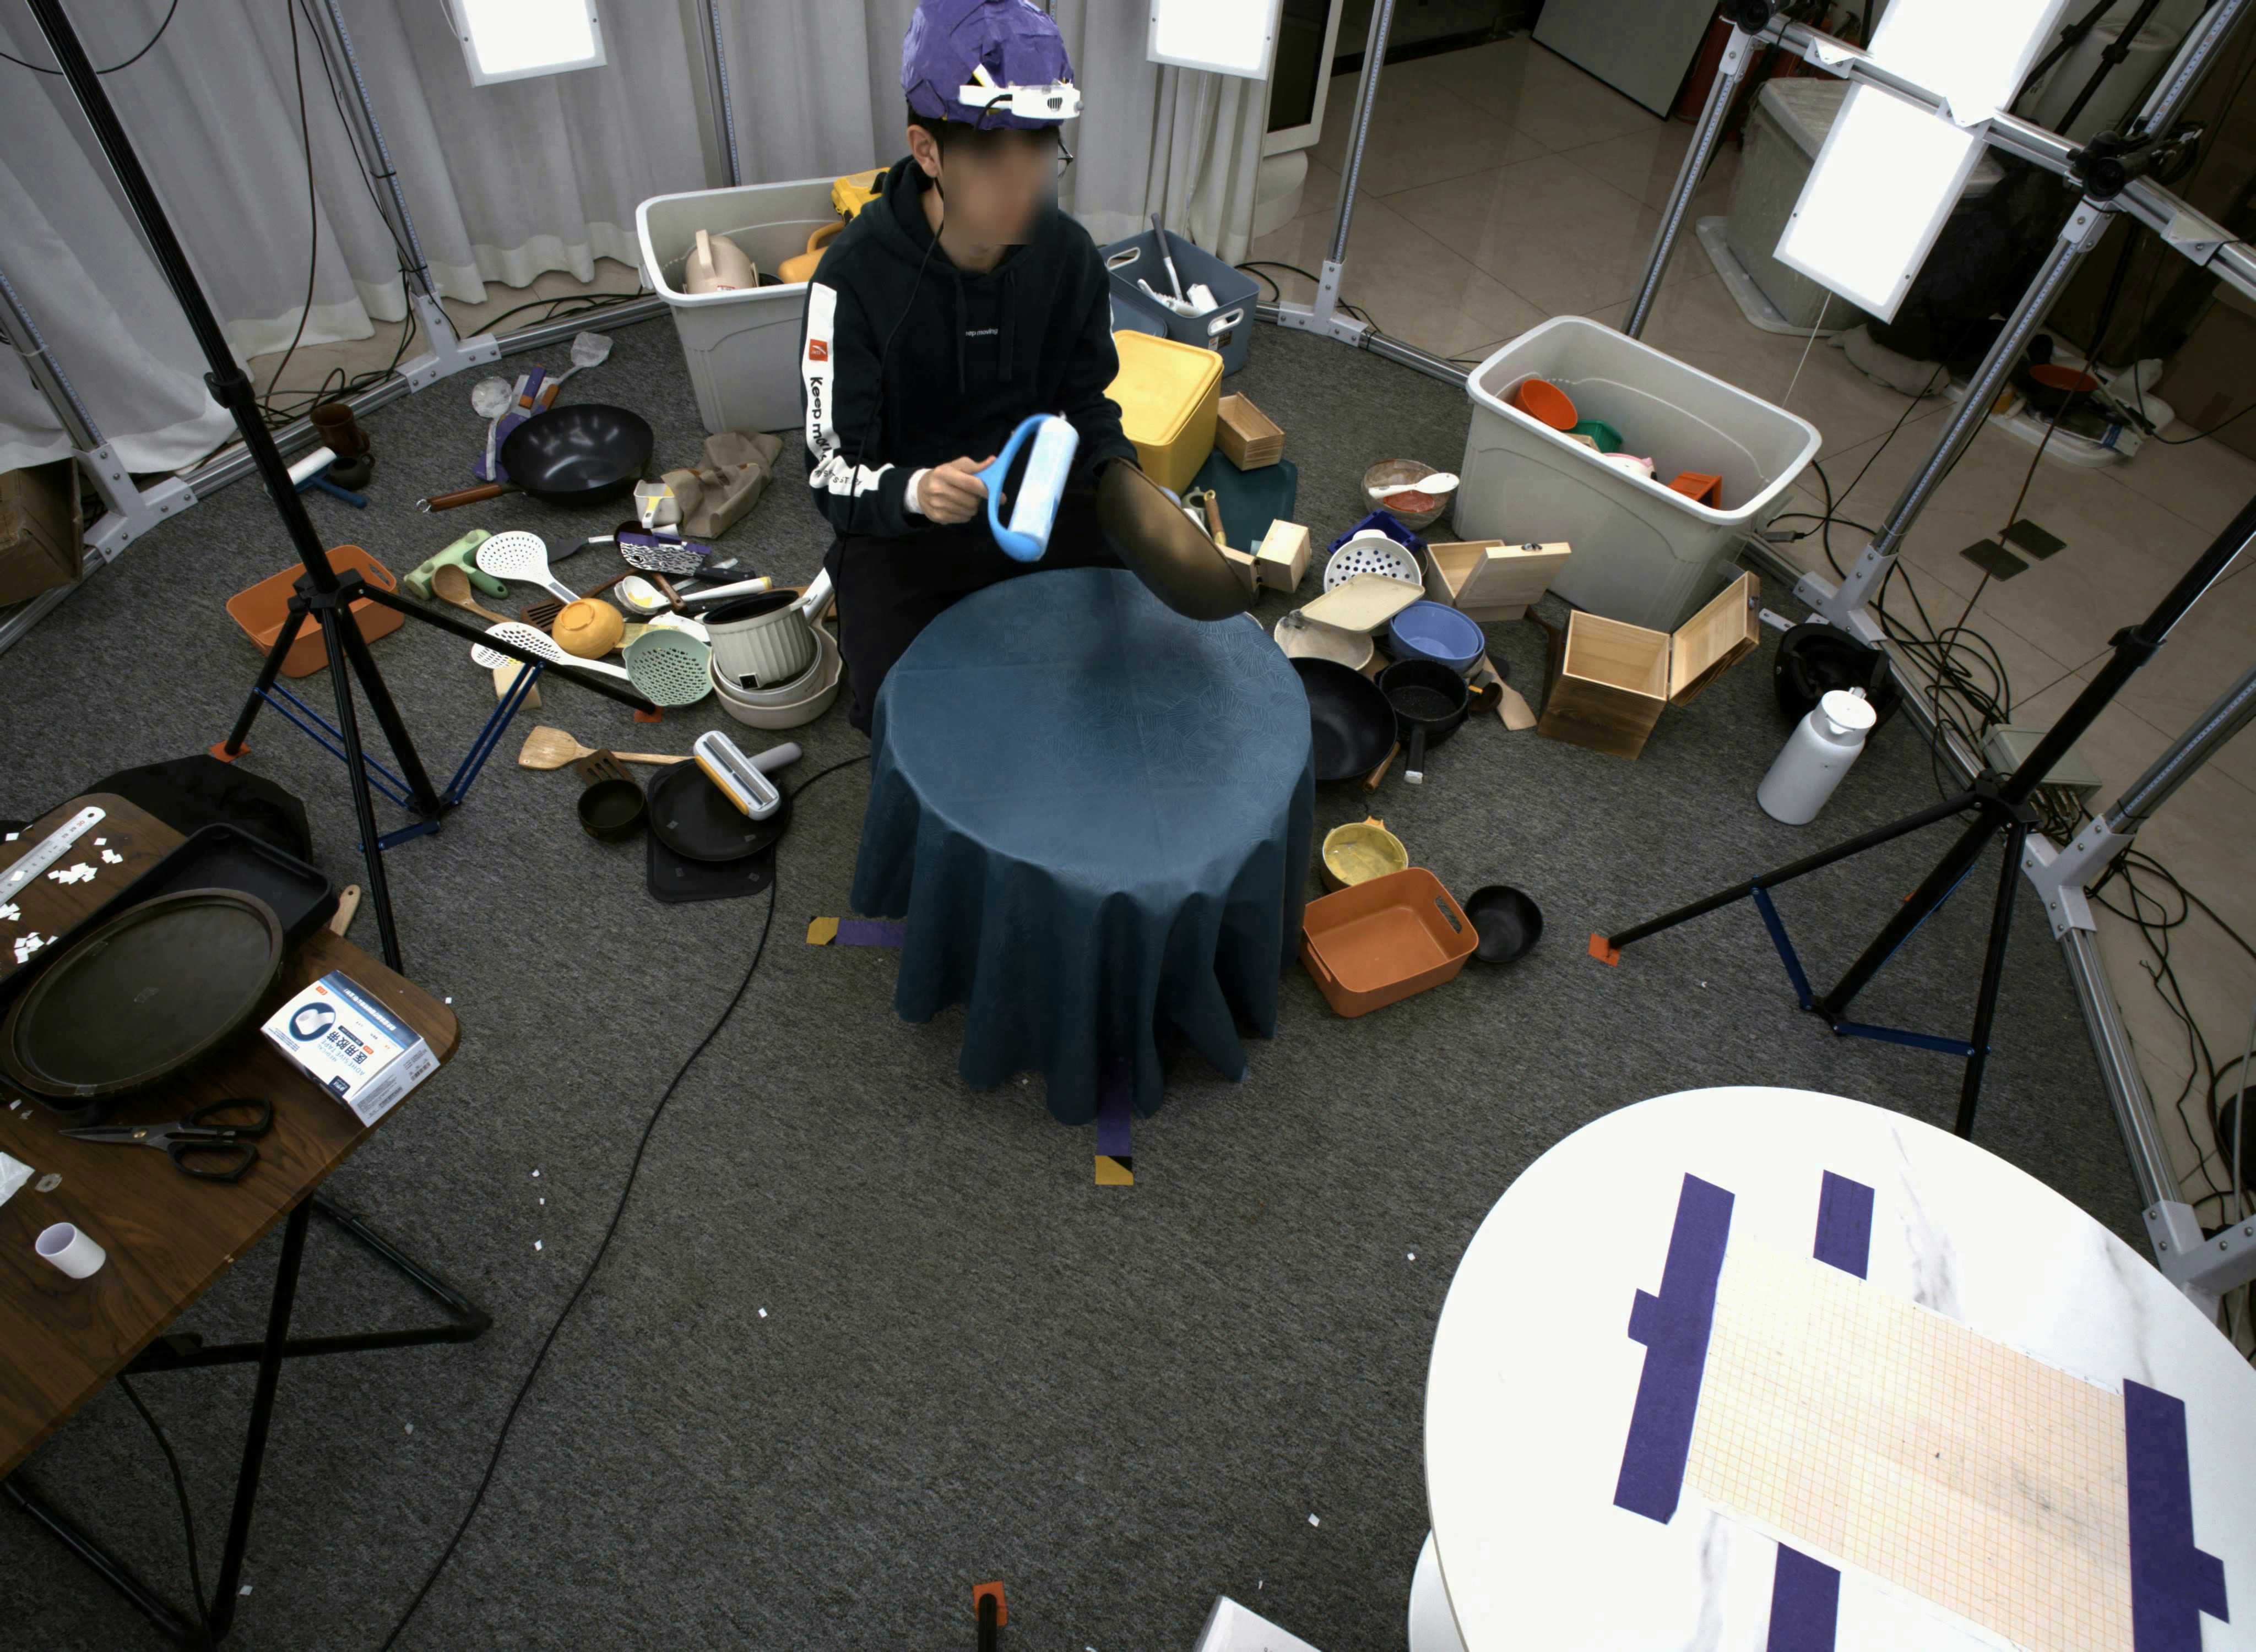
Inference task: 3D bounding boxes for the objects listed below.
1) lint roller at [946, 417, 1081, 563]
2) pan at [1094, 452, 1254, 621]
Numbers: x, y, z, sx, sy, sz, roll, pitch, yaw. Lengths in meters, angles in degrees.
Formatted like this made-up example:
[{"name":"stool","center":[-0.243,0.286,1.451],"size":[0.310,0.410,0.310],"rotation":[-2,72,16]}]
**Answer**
[{"name":"lint roller","center":[-0.163,-0.426,1.654],"size":[0.180,0.066,0.234],"rotation":[-1,58,19]},{"name":"pan","center":[0.013,-0.410,1.832],"size":[0.087,0.283,0.472],"rotation":[-44,31,1]}]
